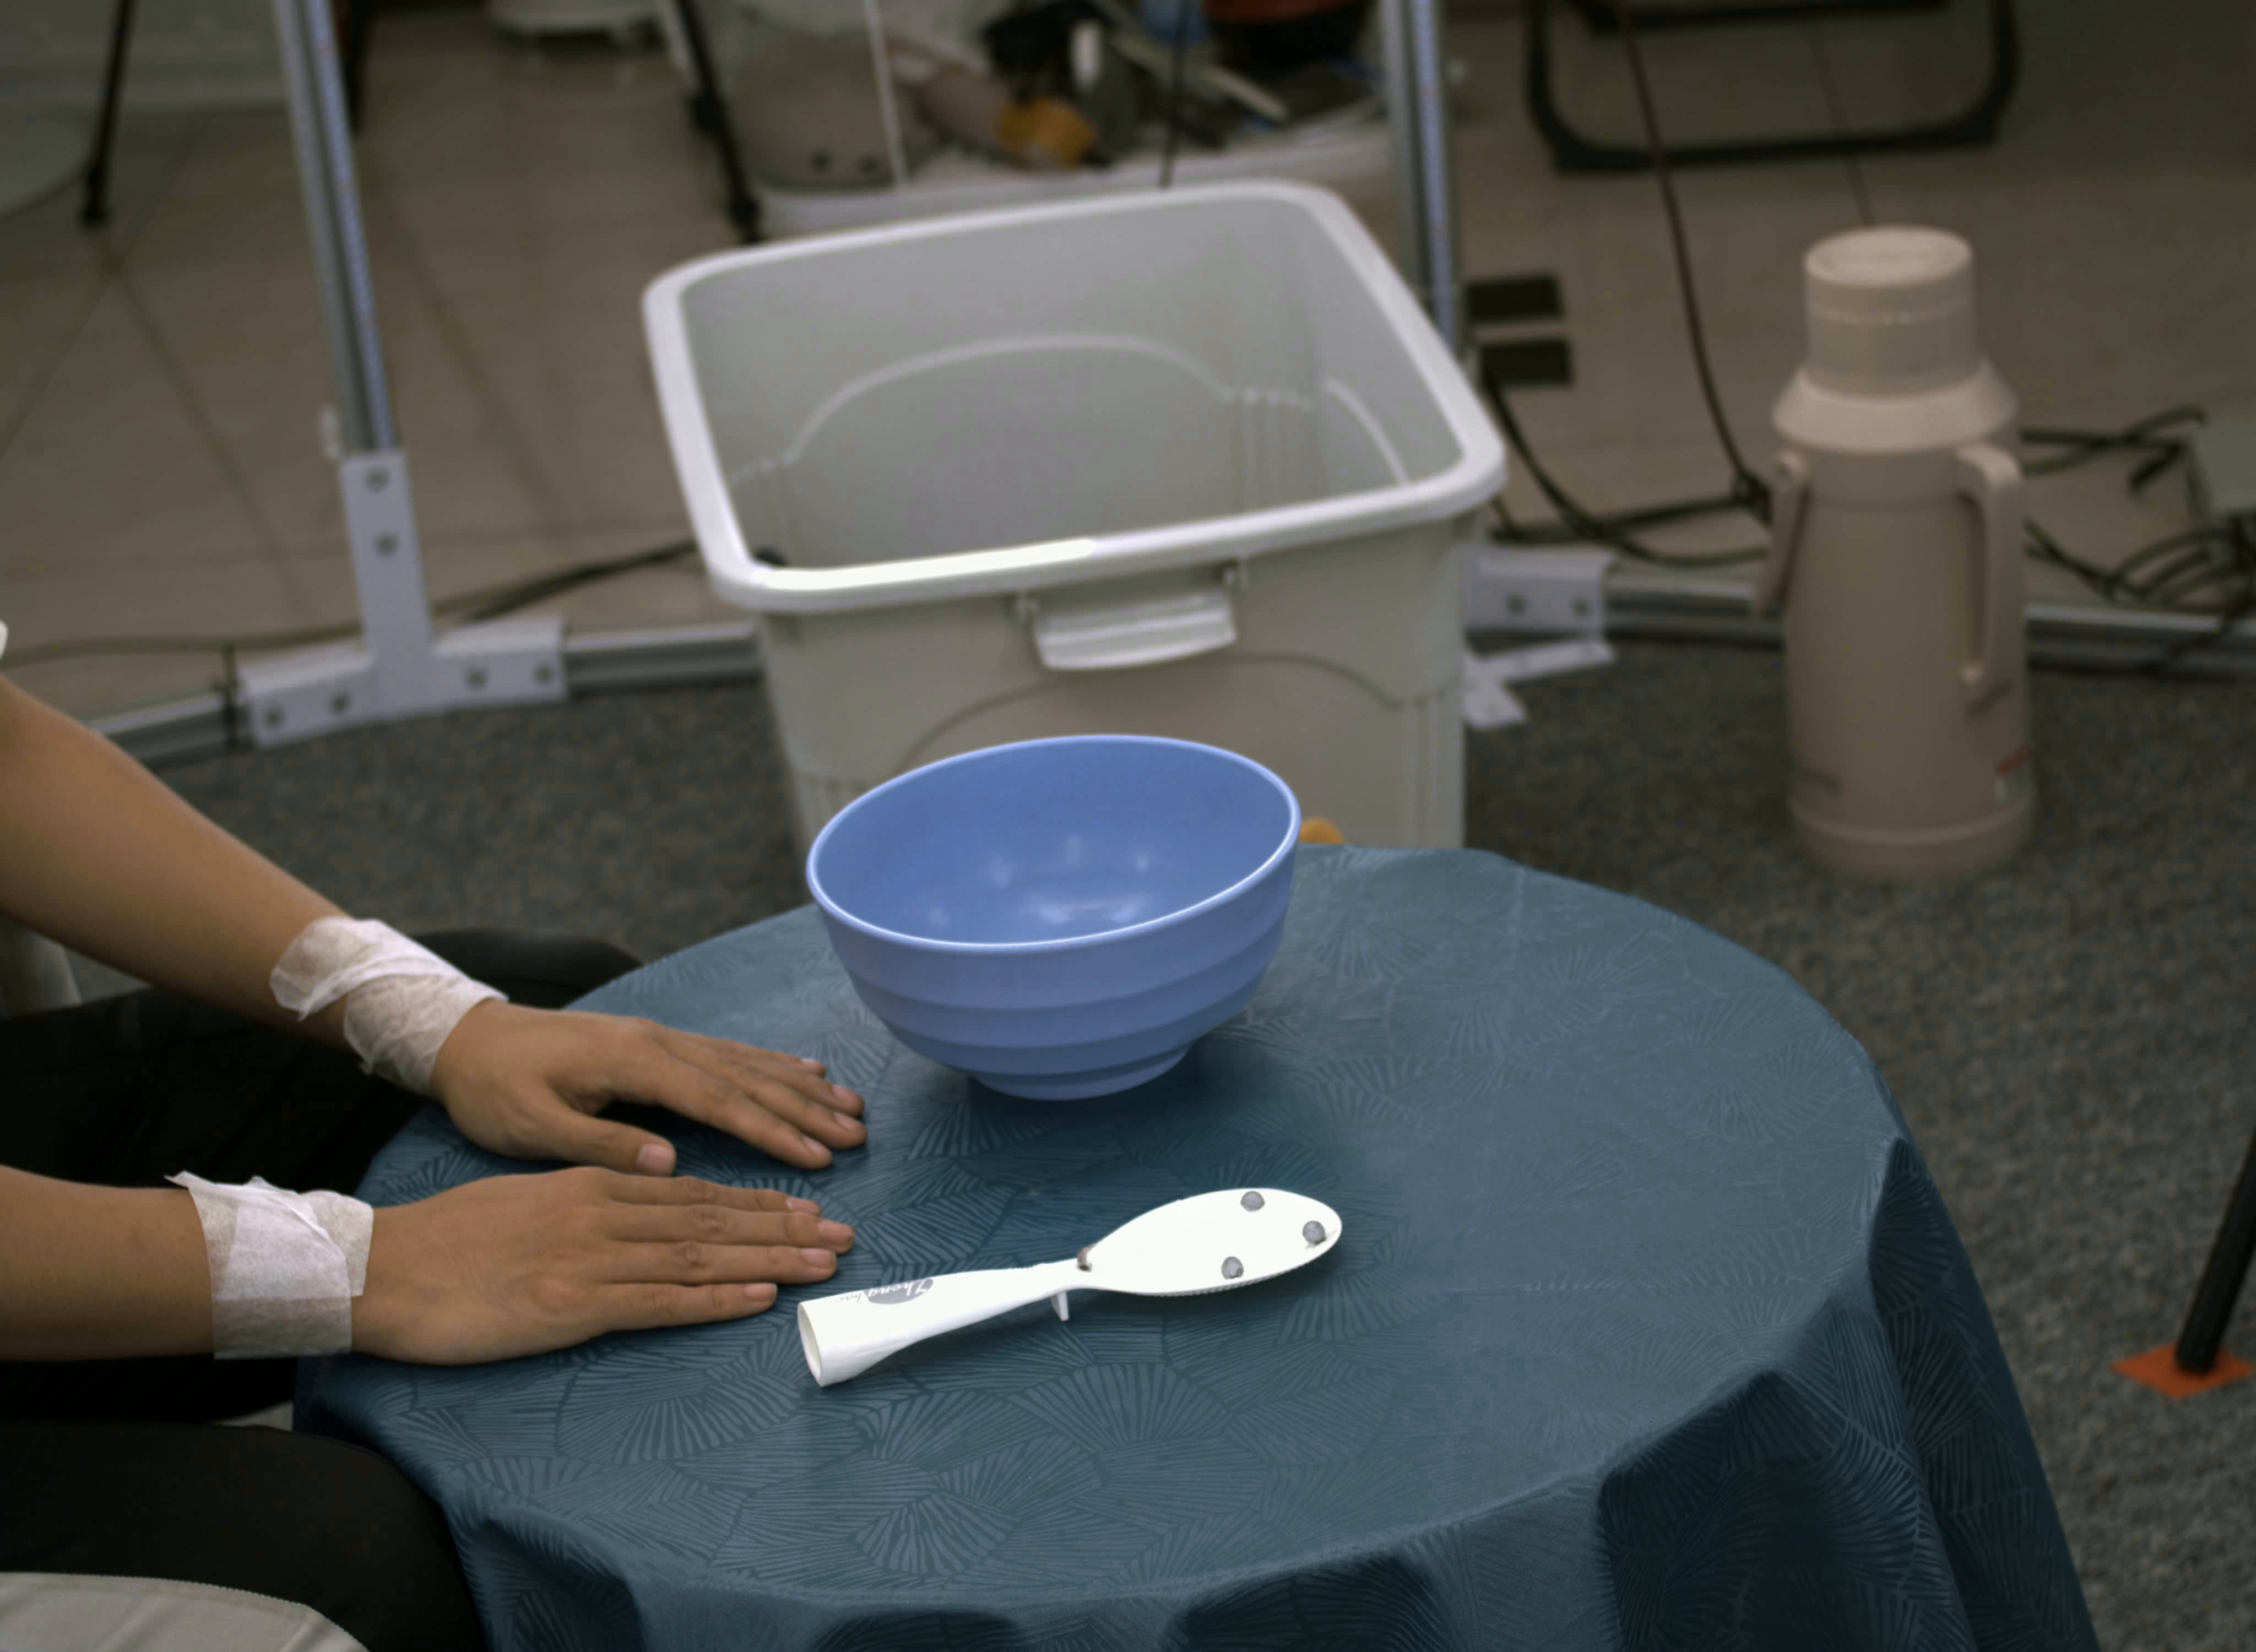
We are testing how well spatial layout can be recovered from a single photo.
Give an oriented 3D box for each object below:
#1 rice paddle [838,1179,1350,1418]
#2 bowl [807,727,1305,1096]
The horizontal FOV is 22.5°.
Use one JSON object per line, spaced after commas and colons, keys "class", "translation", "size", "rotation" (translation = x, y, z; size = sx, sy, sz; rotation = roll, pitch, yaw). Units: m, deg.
{"class": "rice paddle", "translation": [-0.009, 0.164, 2.074], "size": [0.204, 0.030, 0.068], "rotation": [-21, 15, -21]}
{"class": "bowl", "translation": [-0.025, 0.044, 2.243], "size": [0.196, 0.097, 0.193], "rotation": [-4, 26, 2]}
